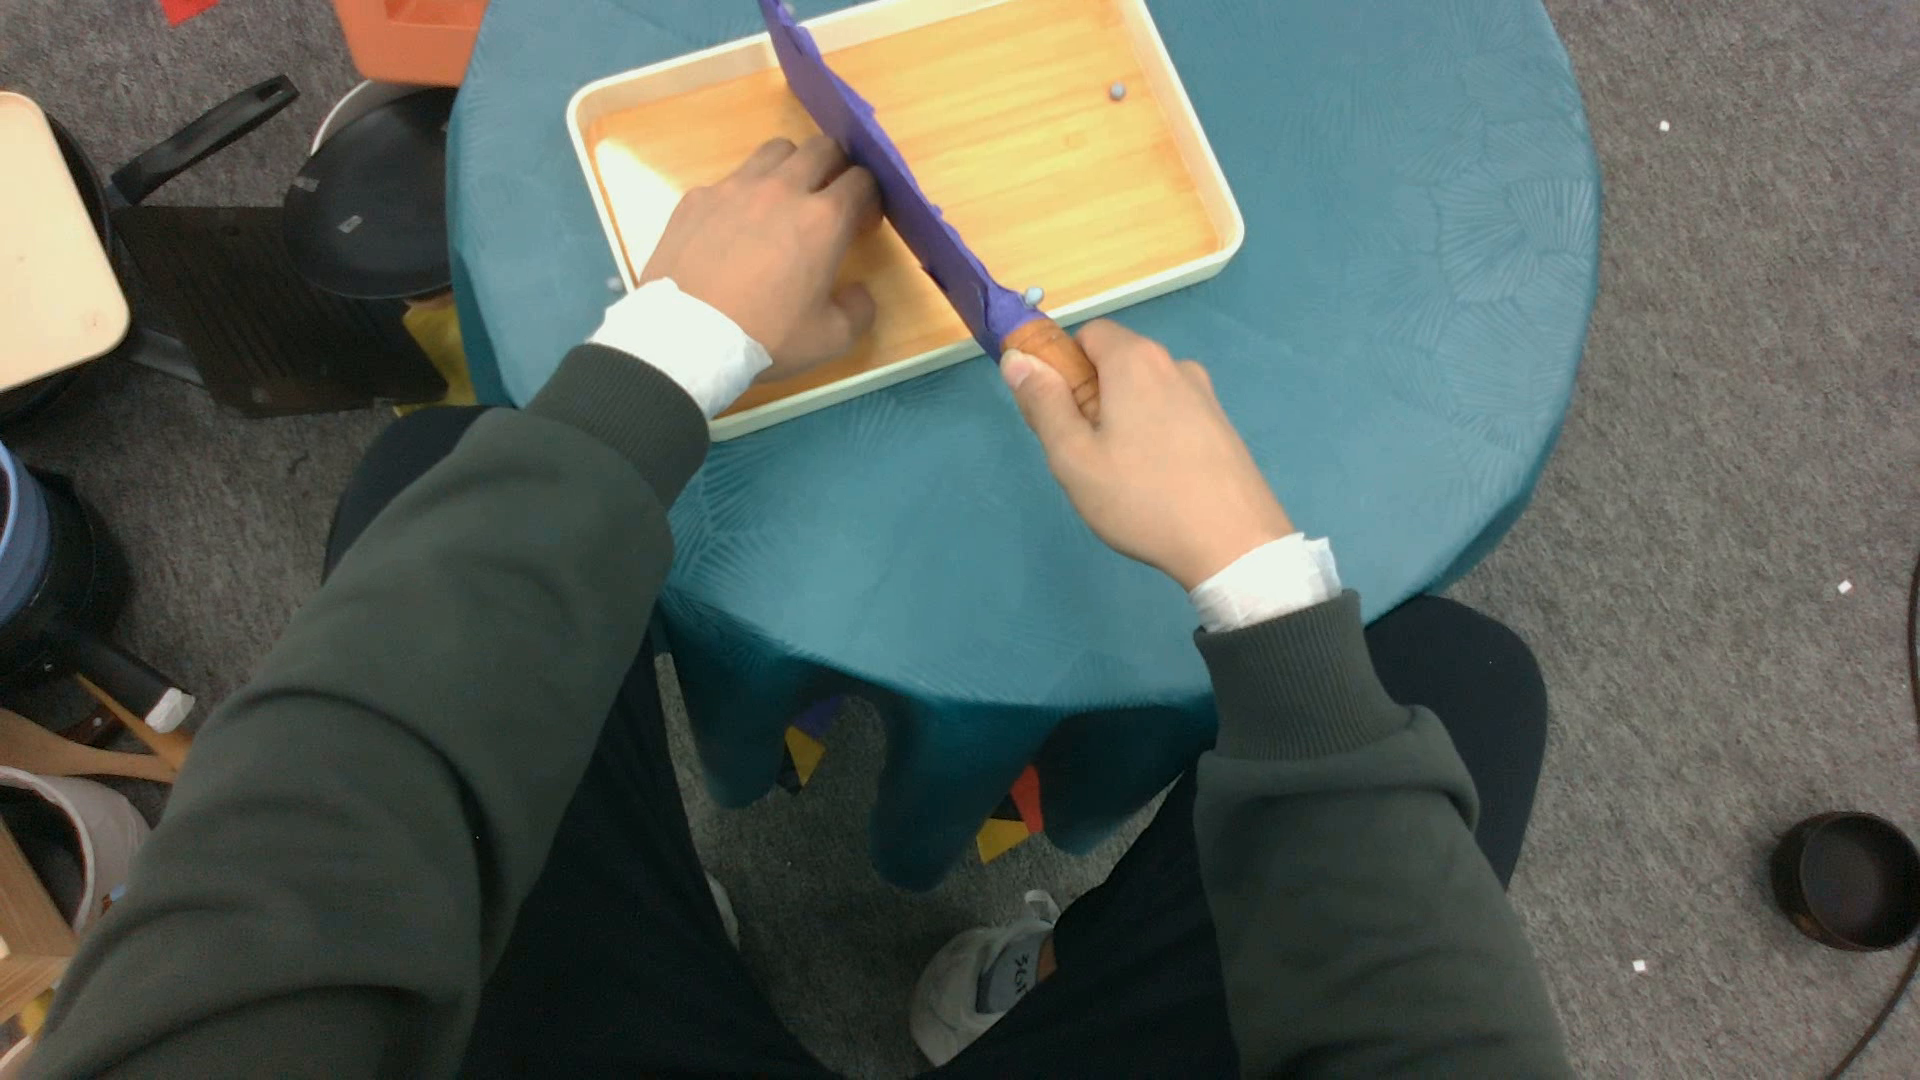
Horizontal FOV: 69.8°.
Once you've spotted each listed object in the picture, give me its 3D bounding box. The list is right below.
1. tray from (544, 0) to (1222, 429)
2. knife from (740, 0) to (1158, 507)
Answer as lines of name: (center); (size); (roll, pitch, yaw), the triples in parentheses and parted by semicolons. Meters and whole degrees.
tray: (-0.036, -0.186, 0.694); (0.301, 0.027, 0.192); (-20, 78, -11)
knife: (-0.013, -0.138, 0.626); (0.032, 0.103, 0.315); (-33, 75, -4)
